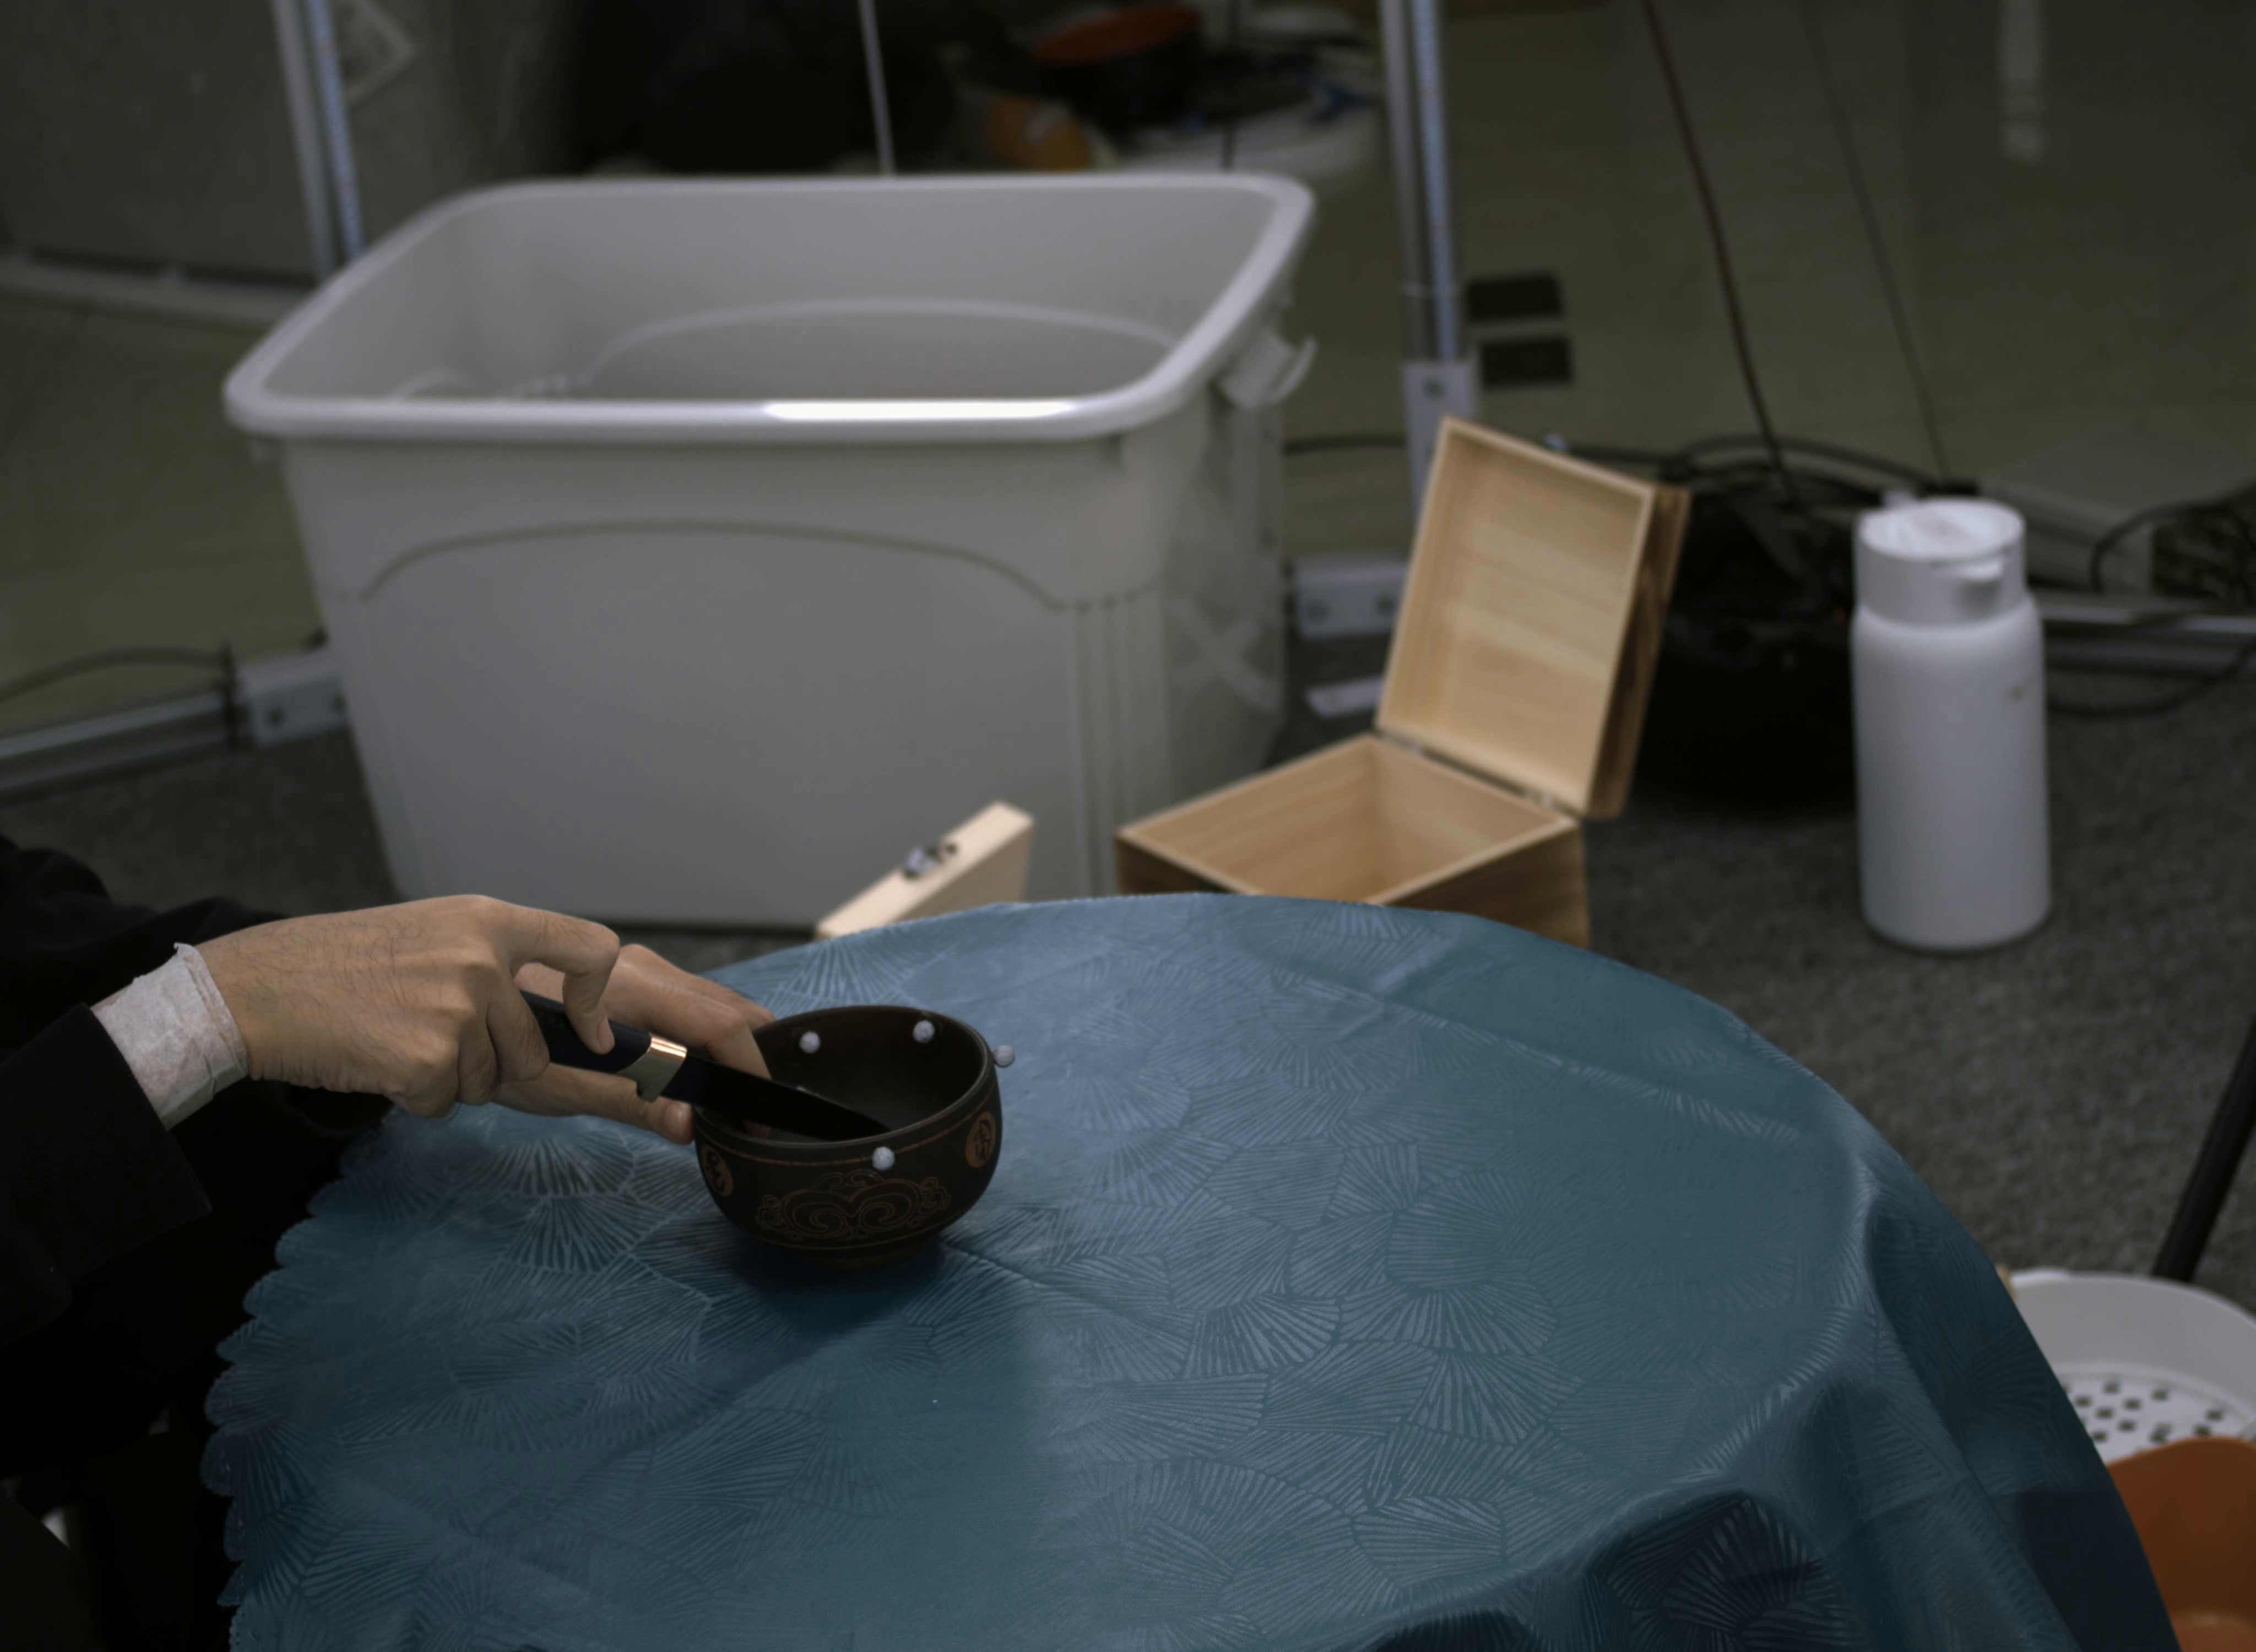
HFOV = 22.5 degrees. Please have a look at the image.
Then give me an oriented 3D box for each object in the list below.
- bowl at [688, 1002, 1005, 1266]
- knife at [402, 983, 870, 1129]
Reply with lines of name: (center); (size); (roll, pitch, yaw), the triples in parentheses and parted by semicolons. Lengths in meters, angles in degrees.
bowl: (-0.103, 0.121, 2.121); (0.118, 0.071, 0.116); (-7, 24, 3)
knife: (-0.170, 0.090, 2.081); (0.226, 0.017, 0.026); (18, -13, -34)
